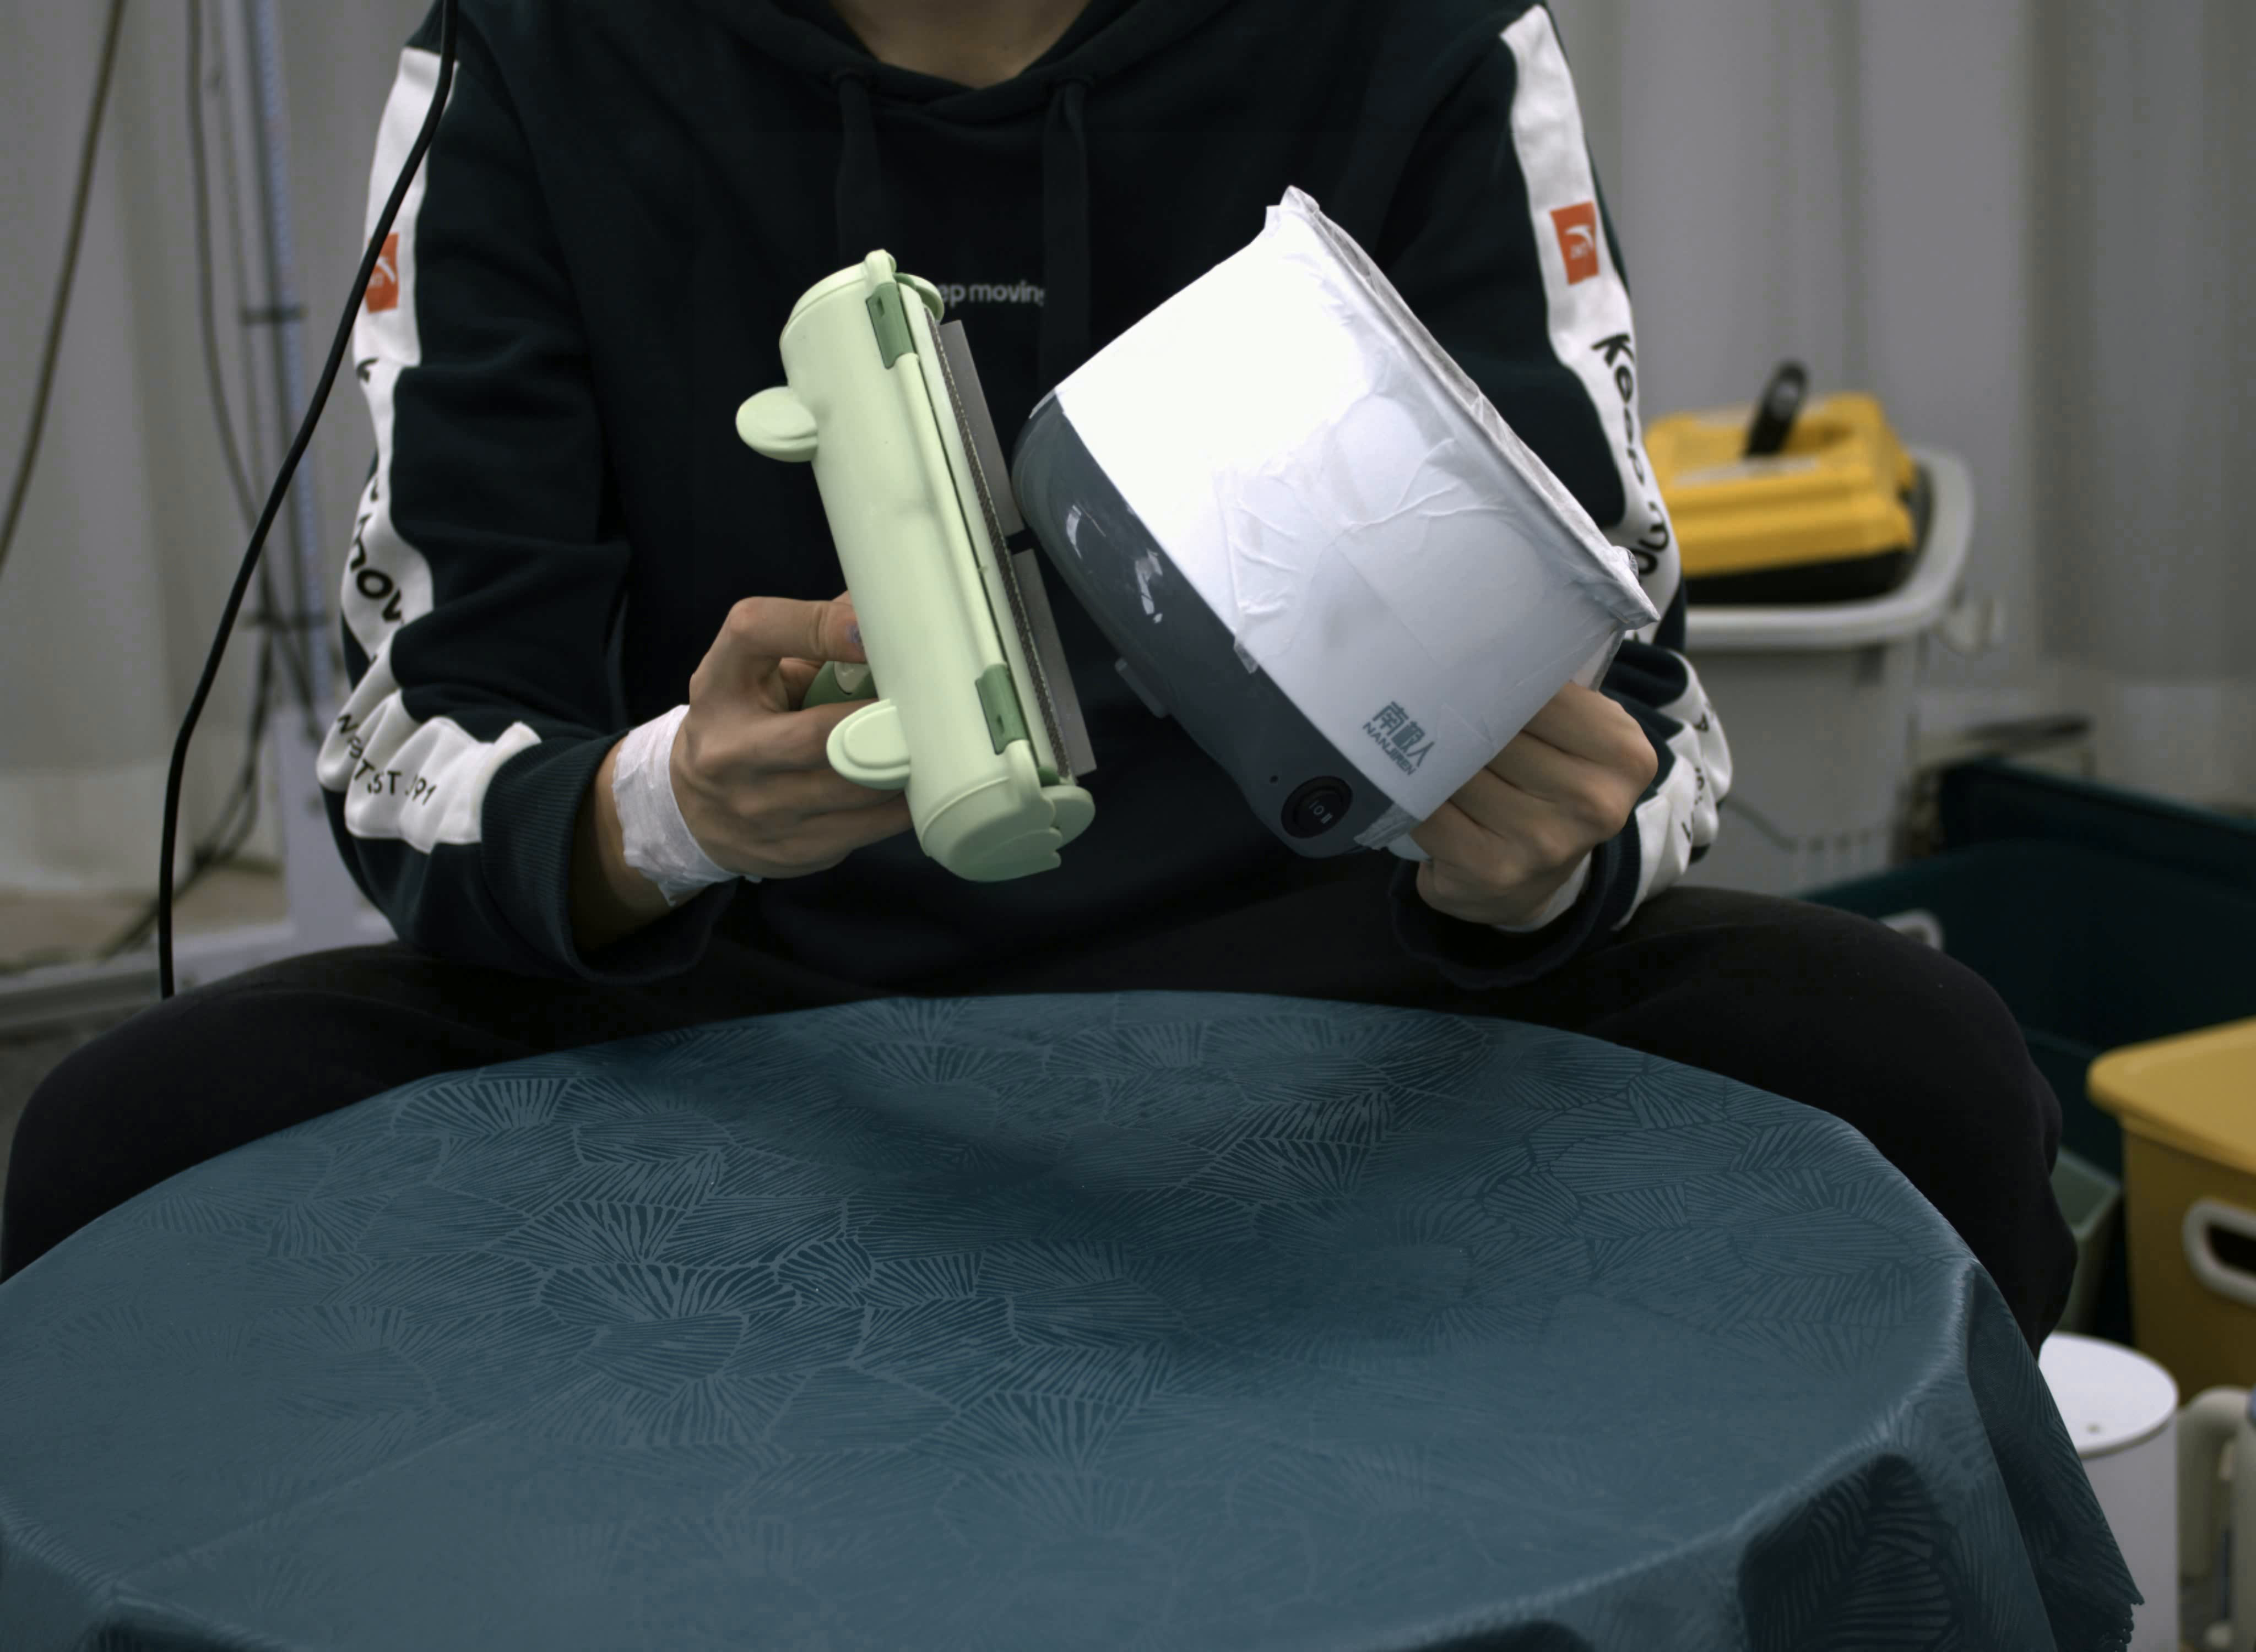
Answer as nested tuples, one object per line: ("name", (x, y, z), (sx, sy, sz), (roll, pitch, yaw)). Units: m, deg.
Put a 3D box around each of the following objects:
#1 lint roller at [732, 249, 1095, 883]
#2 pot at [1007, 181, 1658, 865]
("lint roller", (-0.090, -0.052, 1.711), (0.081, 0.201, 0.182), (-1, -29, -31))
("pot", (0.073, -0.078, 1.717), (0.136, 0.230, 0.181), (-40, 46, 8))
